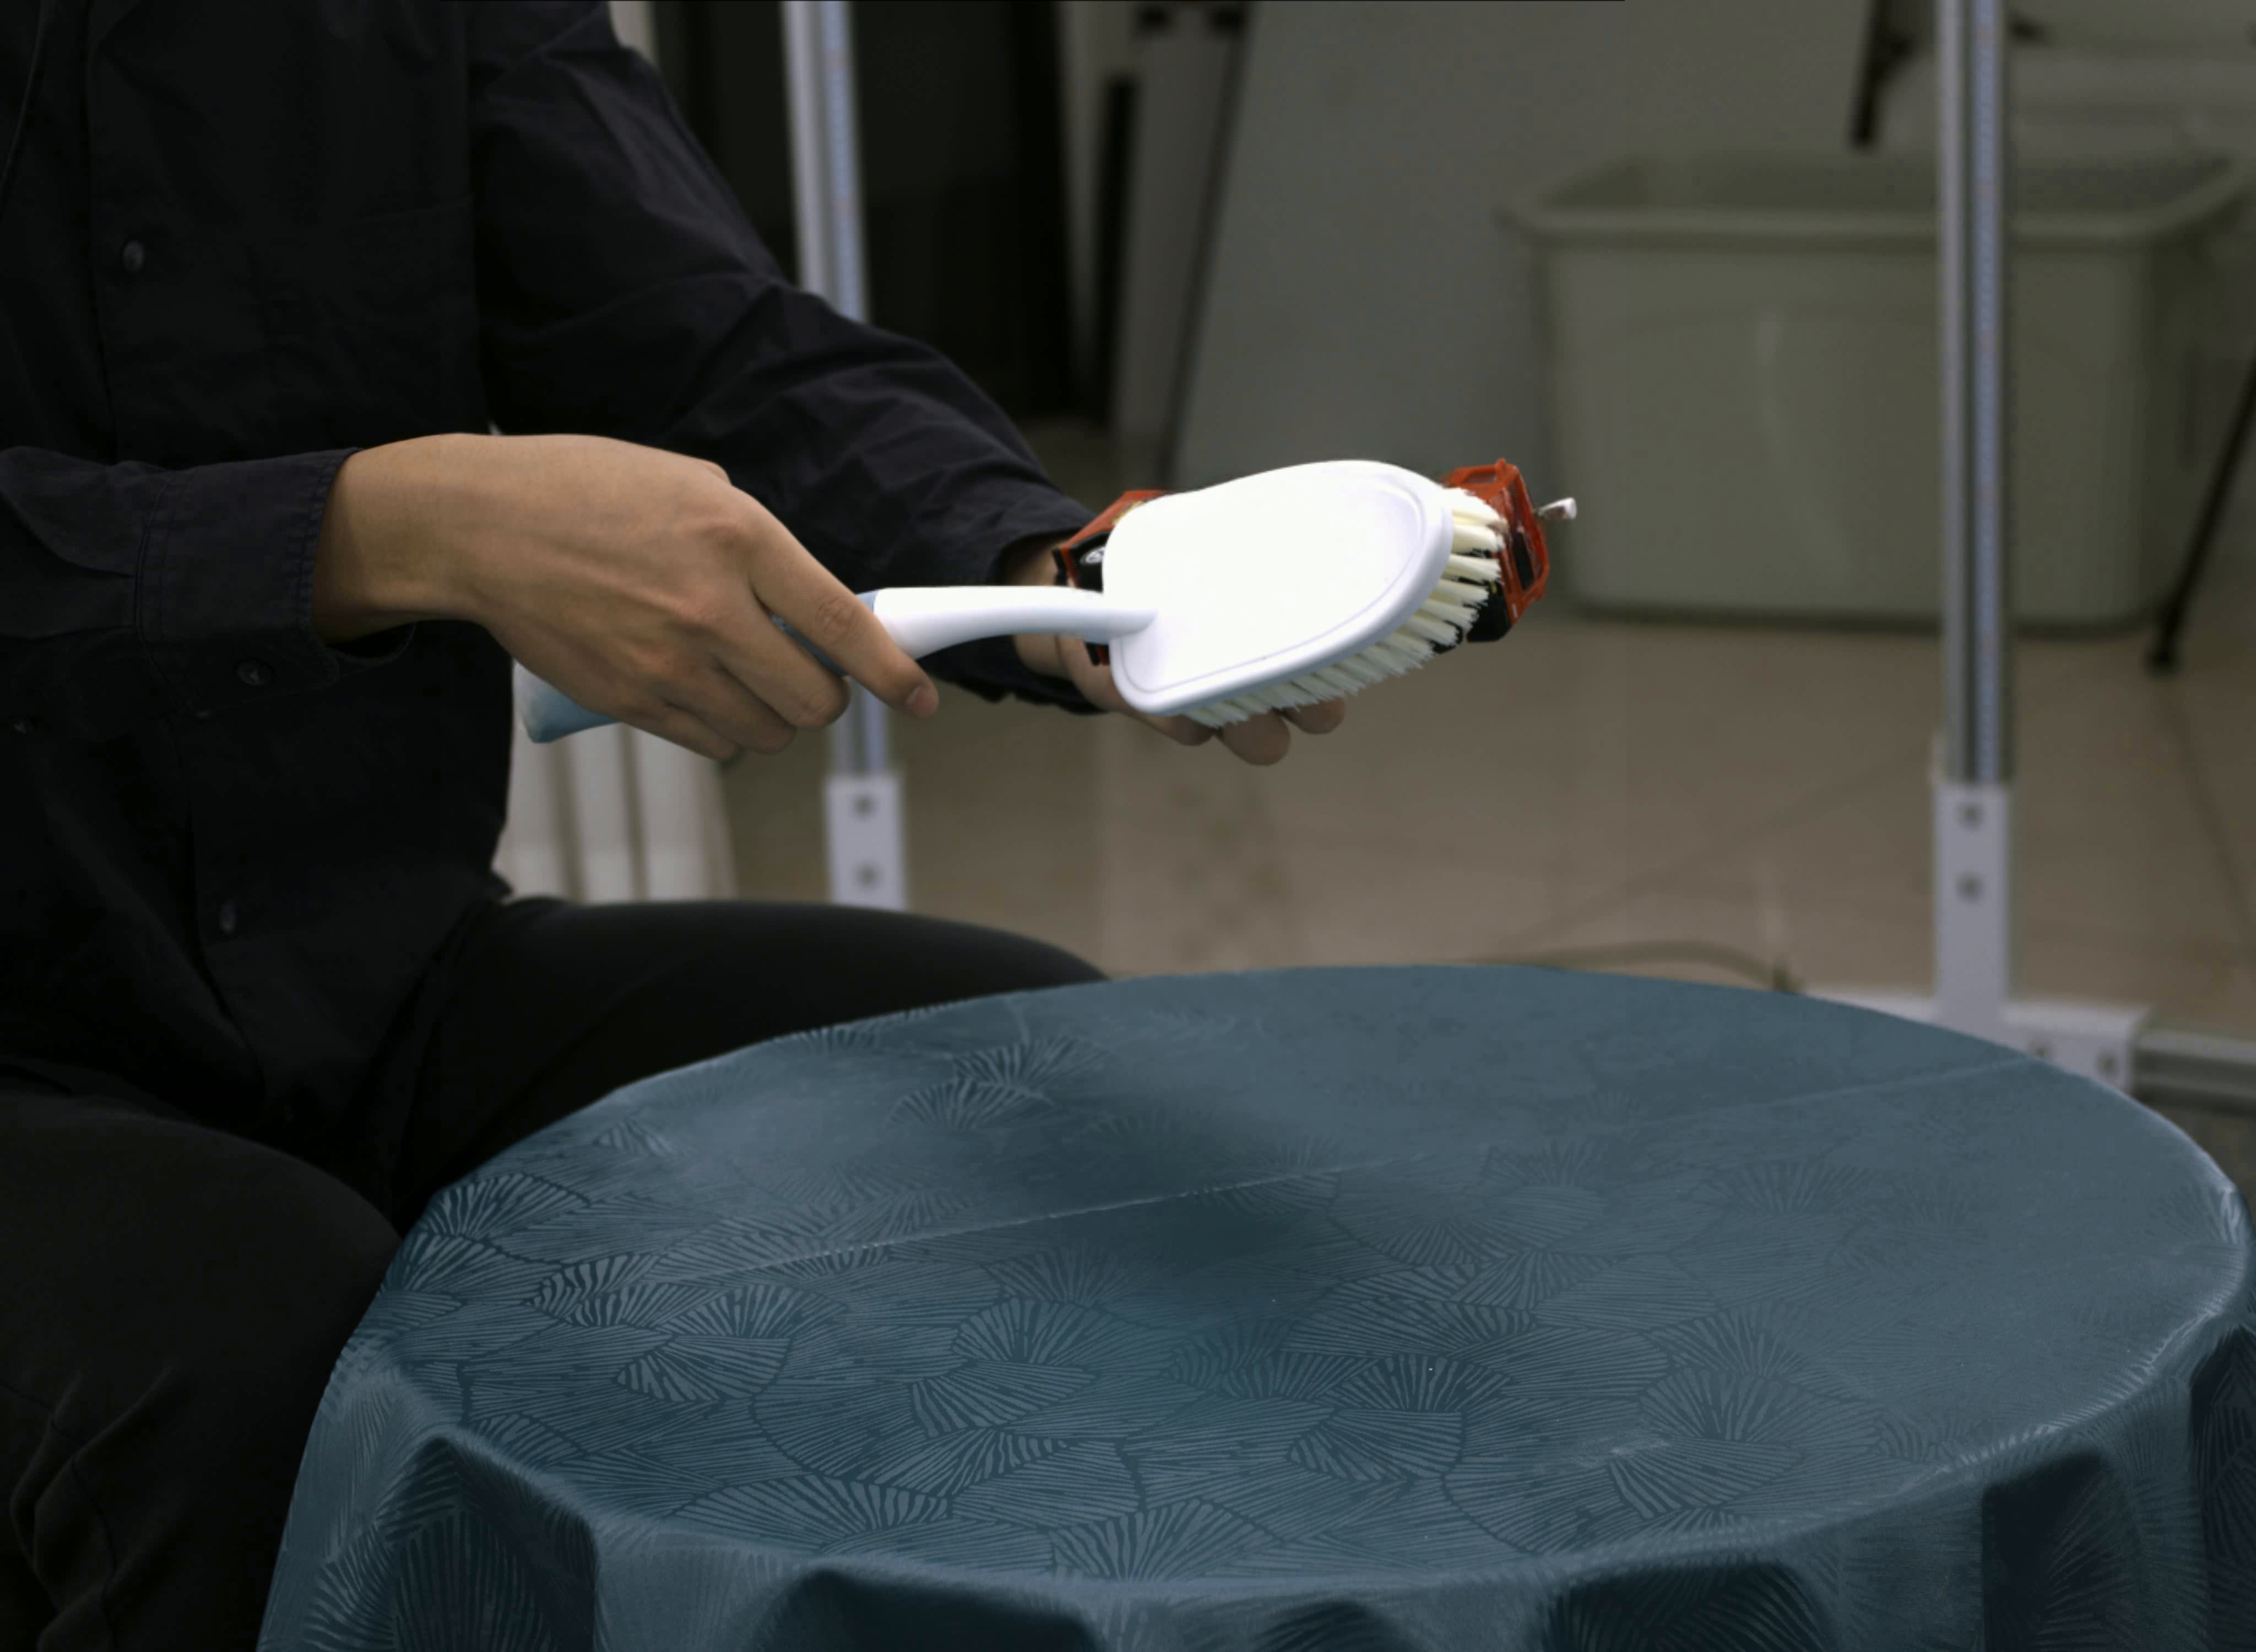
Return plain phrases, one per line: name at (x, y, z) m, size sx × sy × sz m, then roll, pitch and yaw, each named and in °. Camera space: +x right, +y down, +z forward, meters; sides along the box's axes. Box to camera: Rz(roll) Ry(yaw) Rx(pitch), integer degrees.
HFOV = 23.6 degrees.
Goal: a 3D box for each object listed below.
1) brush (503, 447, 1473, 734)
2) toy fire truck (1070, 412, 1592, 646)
brush at (-0.042, -0.065, 1.698) m, size 0.325 × 0.084 × 0.083 m, roll -11°, pitch 37°, yaw 22°
toy fire truck at (0.062, -0.092, 1.708) m, size 0.169 × 0.054 × 0.069 m, roll -3°, pitch 28°, yaw 36°
